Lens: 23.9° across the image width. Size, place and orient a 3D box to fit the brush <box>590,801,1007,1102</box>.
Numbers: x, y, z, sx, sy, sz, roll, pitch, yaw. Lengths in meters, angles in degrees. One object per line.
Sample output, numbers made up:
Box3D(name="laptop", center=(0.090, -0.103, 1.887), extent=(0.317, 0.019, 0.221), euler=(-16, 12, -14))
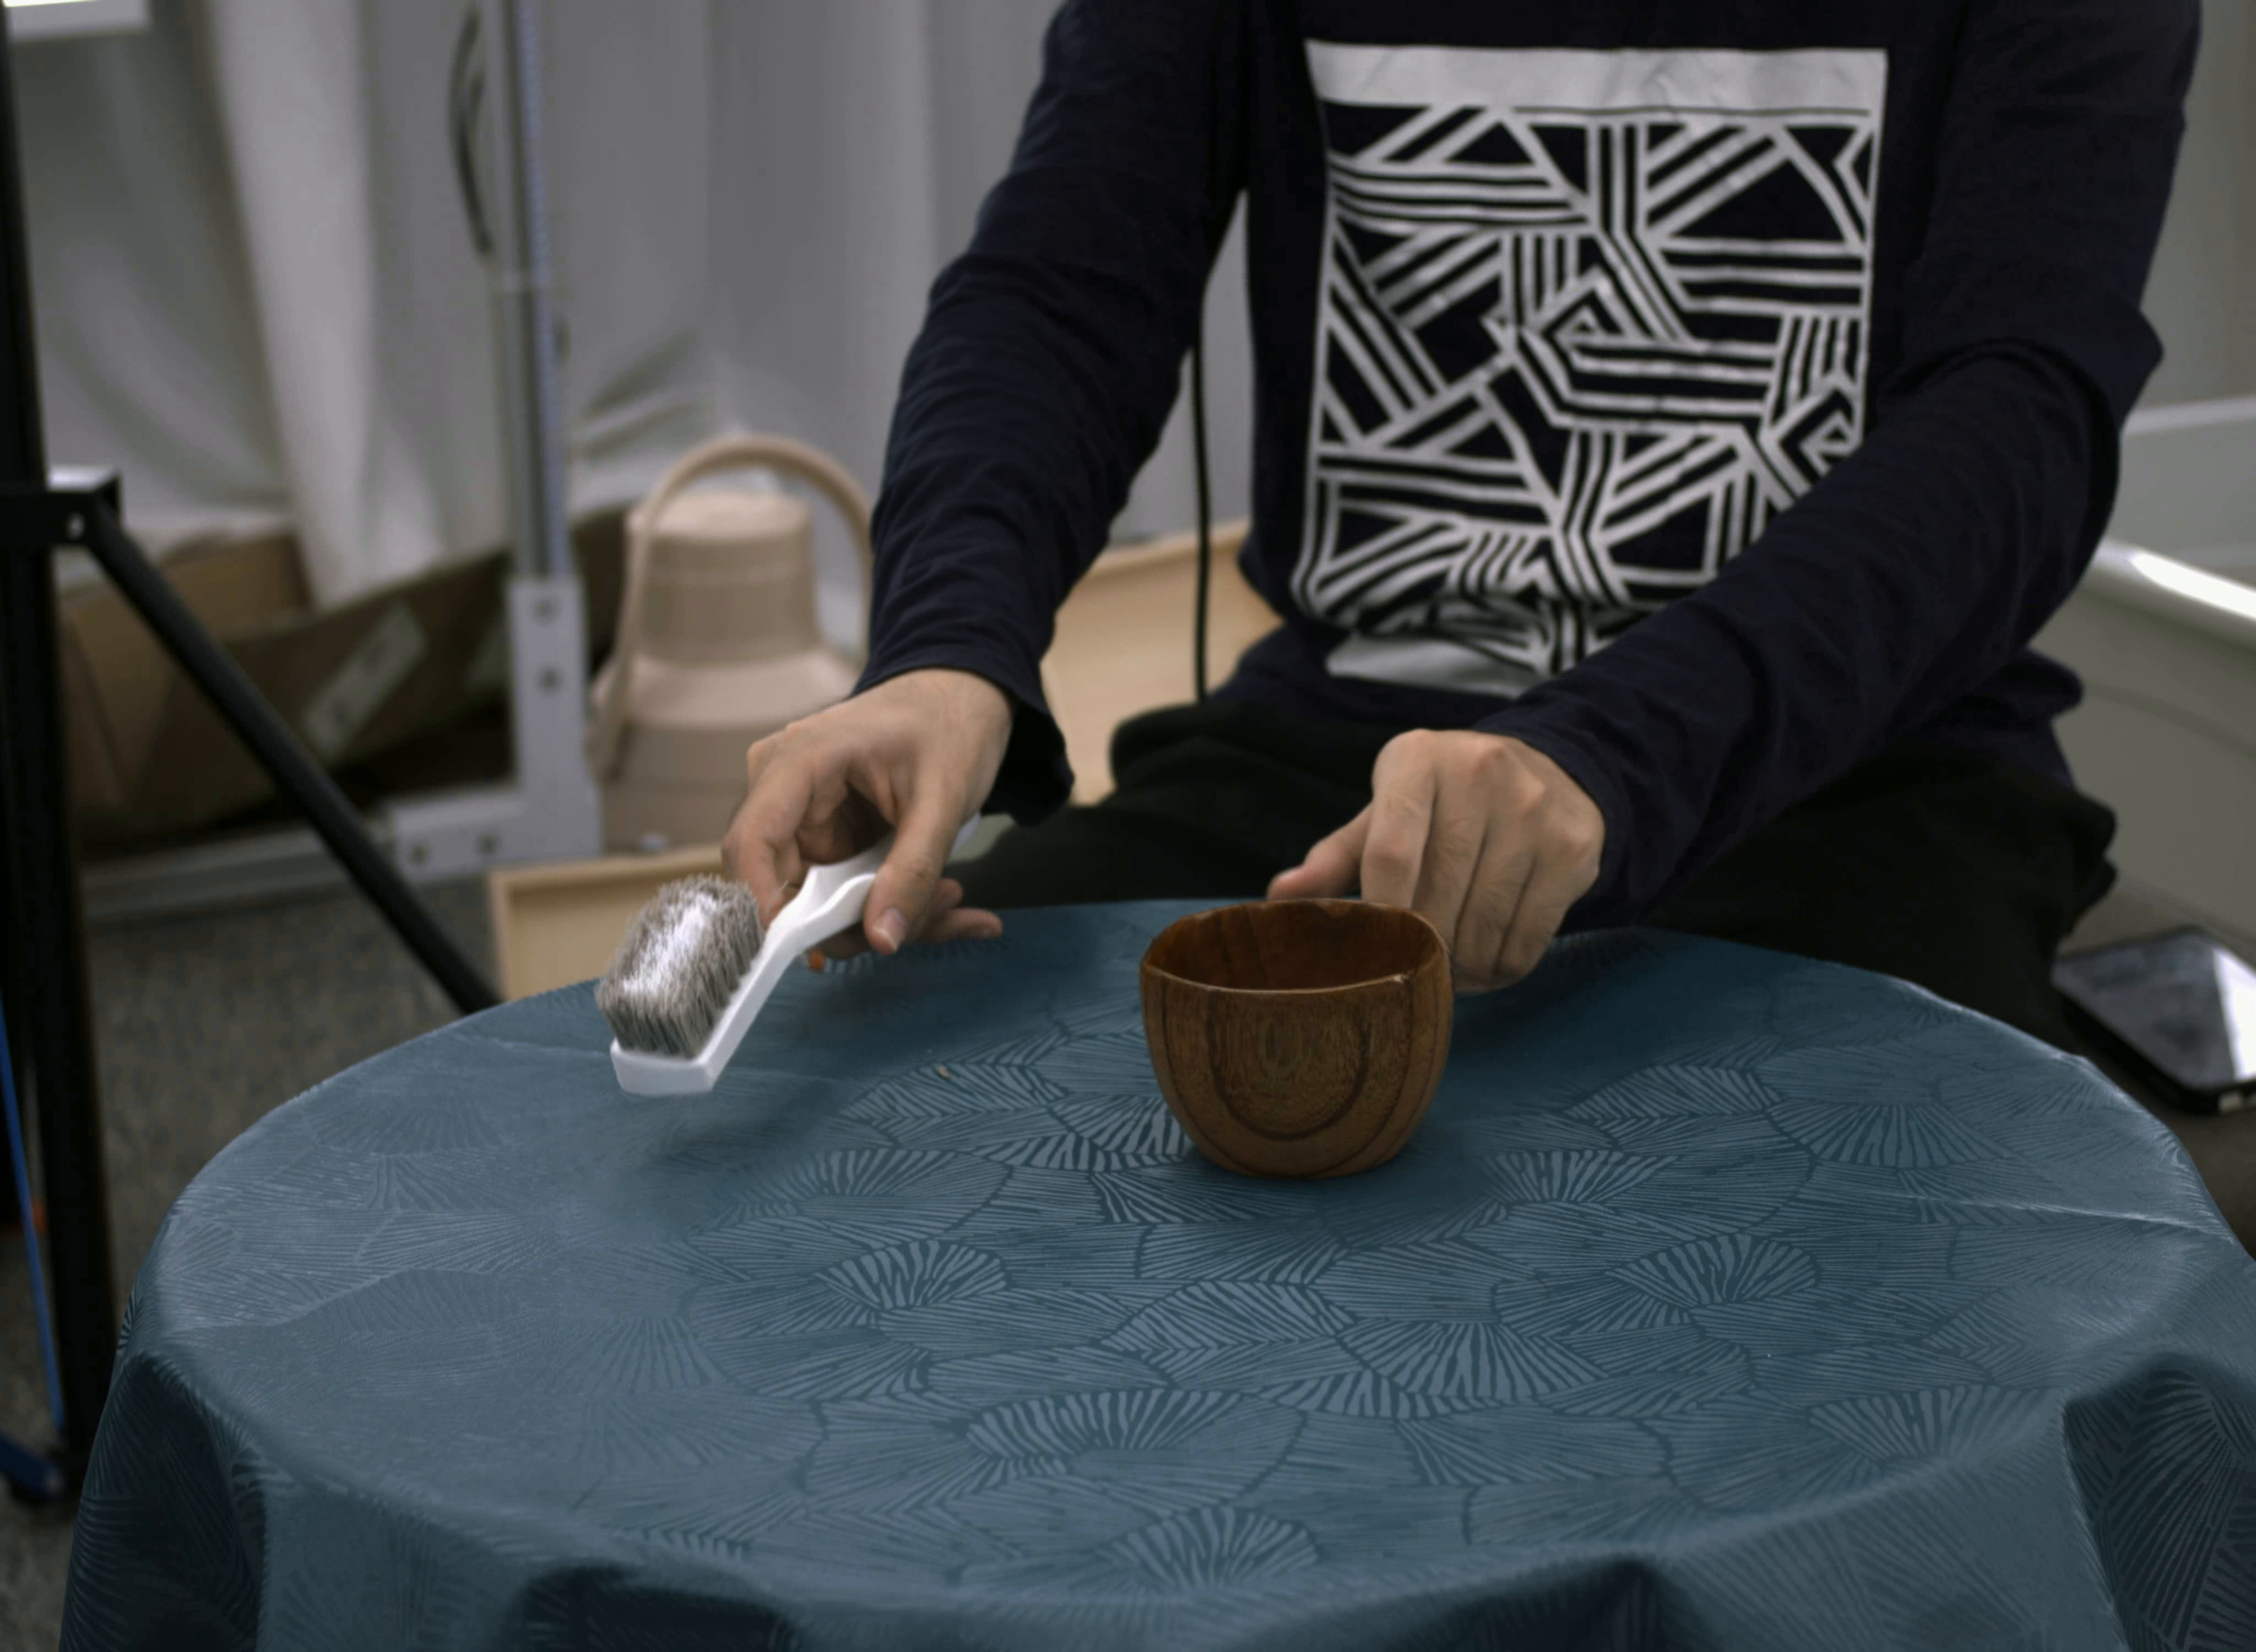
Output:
Box3D(name="brush", center=(-0.099, 0.020, 1.687), extent=(0.035, 0.050, 0.240), euler=(3, 23, 25))

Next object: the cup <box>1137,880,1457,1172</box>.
Box3D(name="cup", center=(0.055, 0.059, 1.596), extent=(0.097, 0.067, 0.118), euler=(1, 18, 17))
